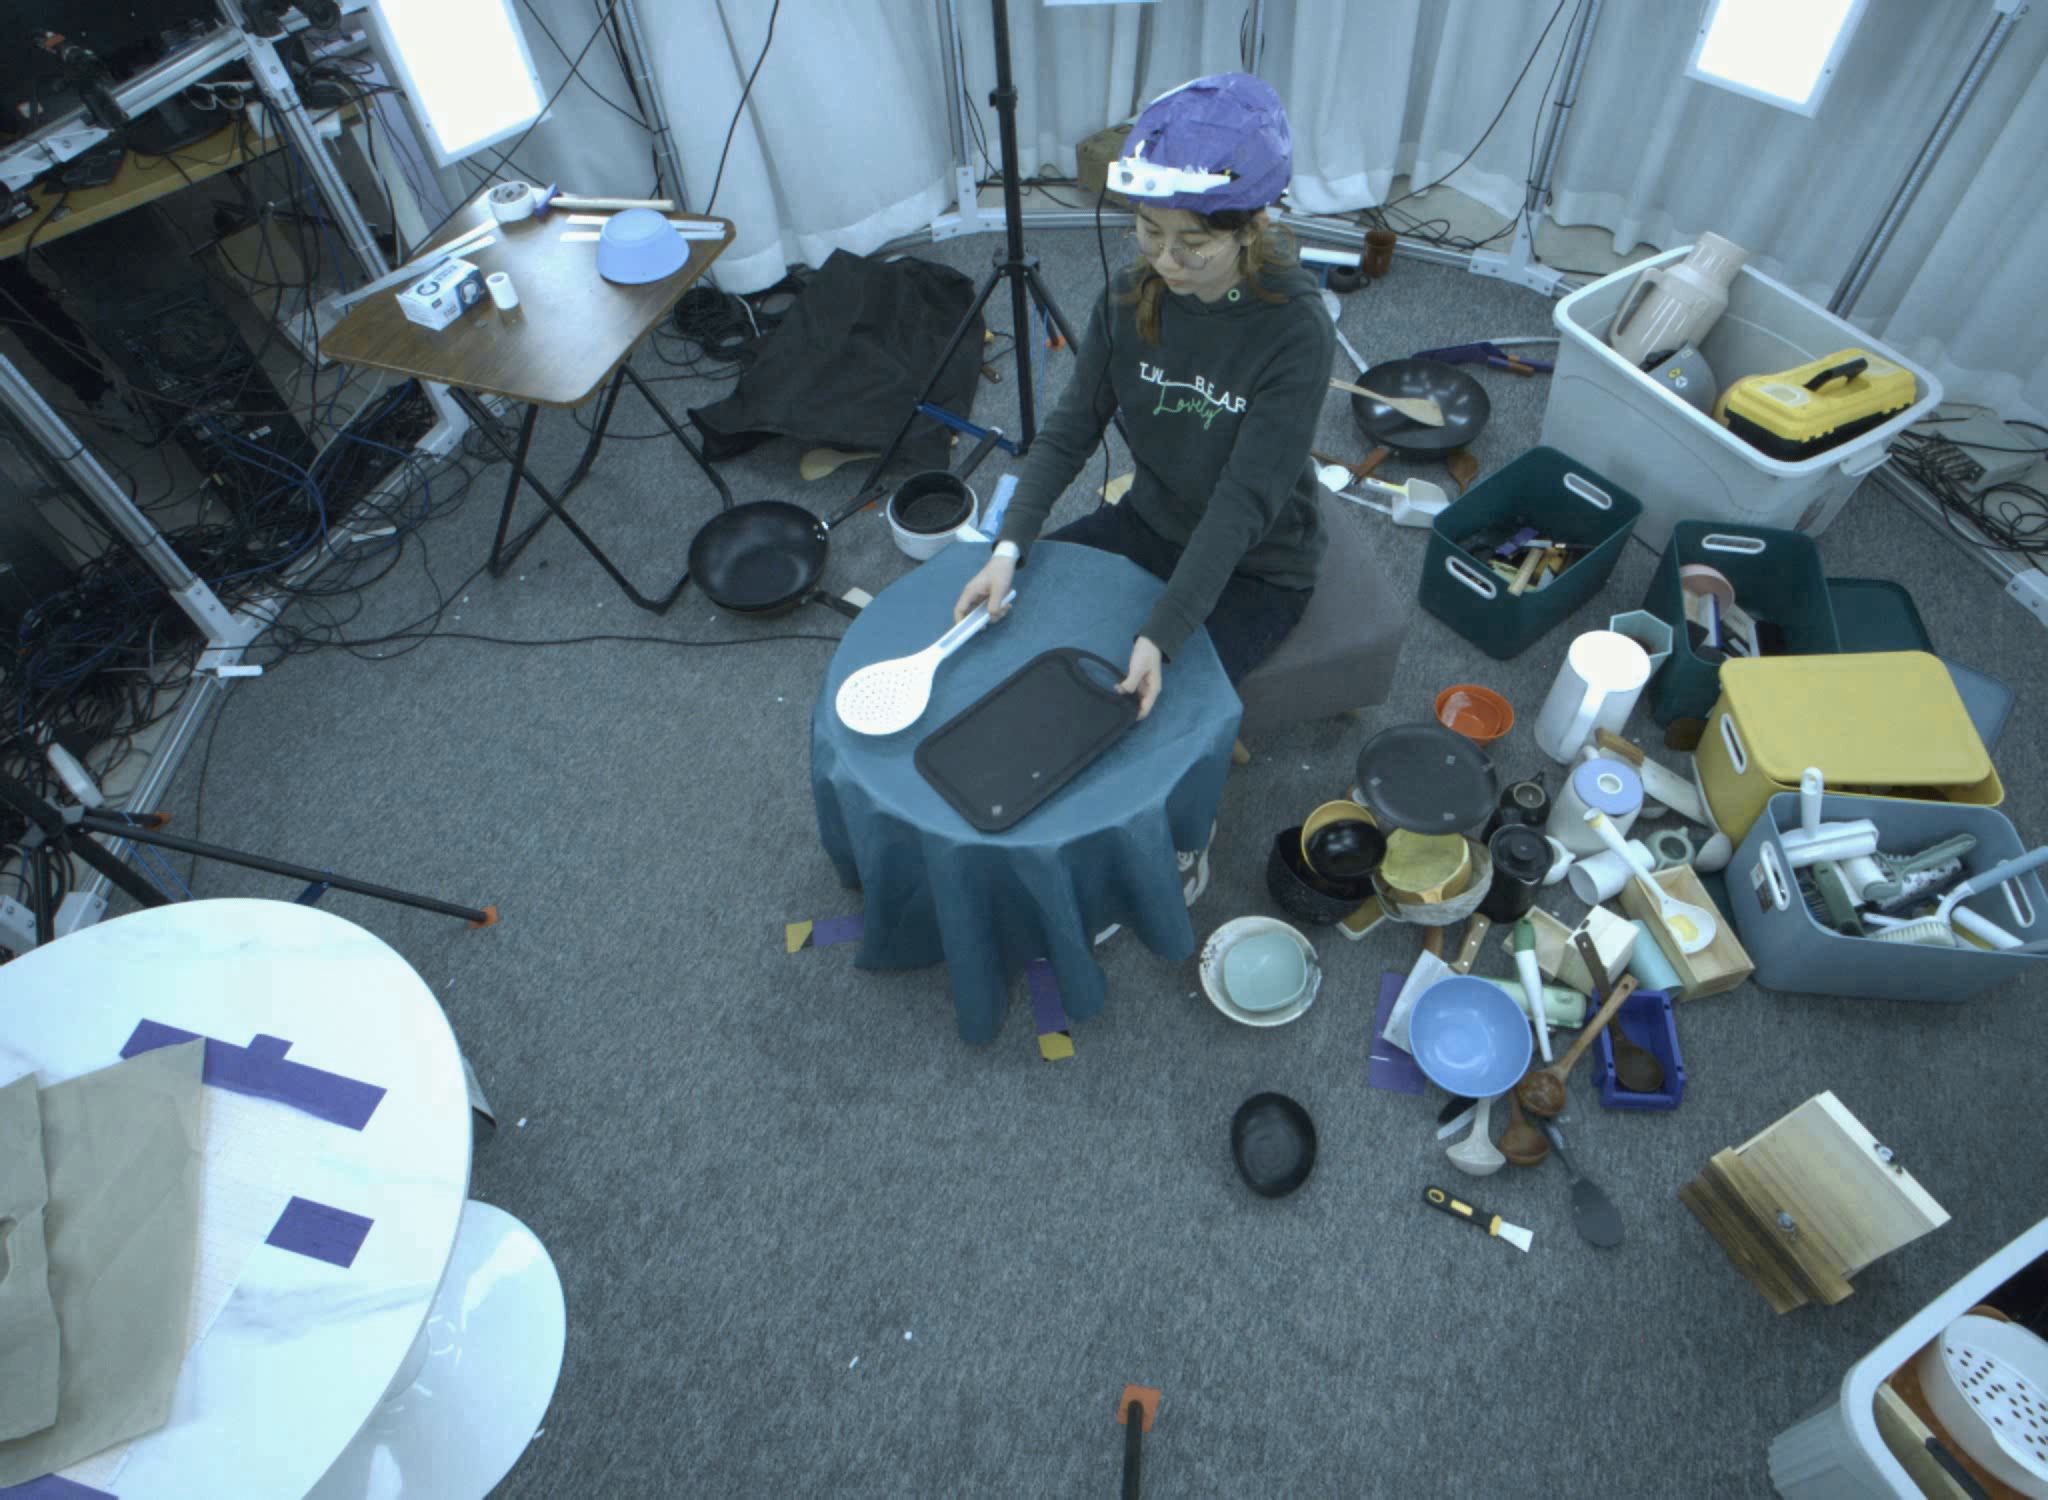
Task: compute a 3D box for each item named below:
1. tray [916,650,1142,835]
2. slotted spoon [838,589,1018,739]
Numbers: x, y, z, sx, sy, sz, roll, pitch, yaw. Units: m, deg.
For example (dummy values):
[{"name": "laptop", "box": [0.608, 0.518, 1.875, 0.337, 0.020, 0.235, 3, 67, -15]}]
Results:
[{"name": "tray", "box": [0.012, -0.023, 1.791, 0.327, 0.010, 0.207, -38, 59, -17]}, {"name": "slotted spoon", "box": [-0.135, -0.137, 1.857, 0.134, 0.046, 0.351, 35, 68, 23]}]
